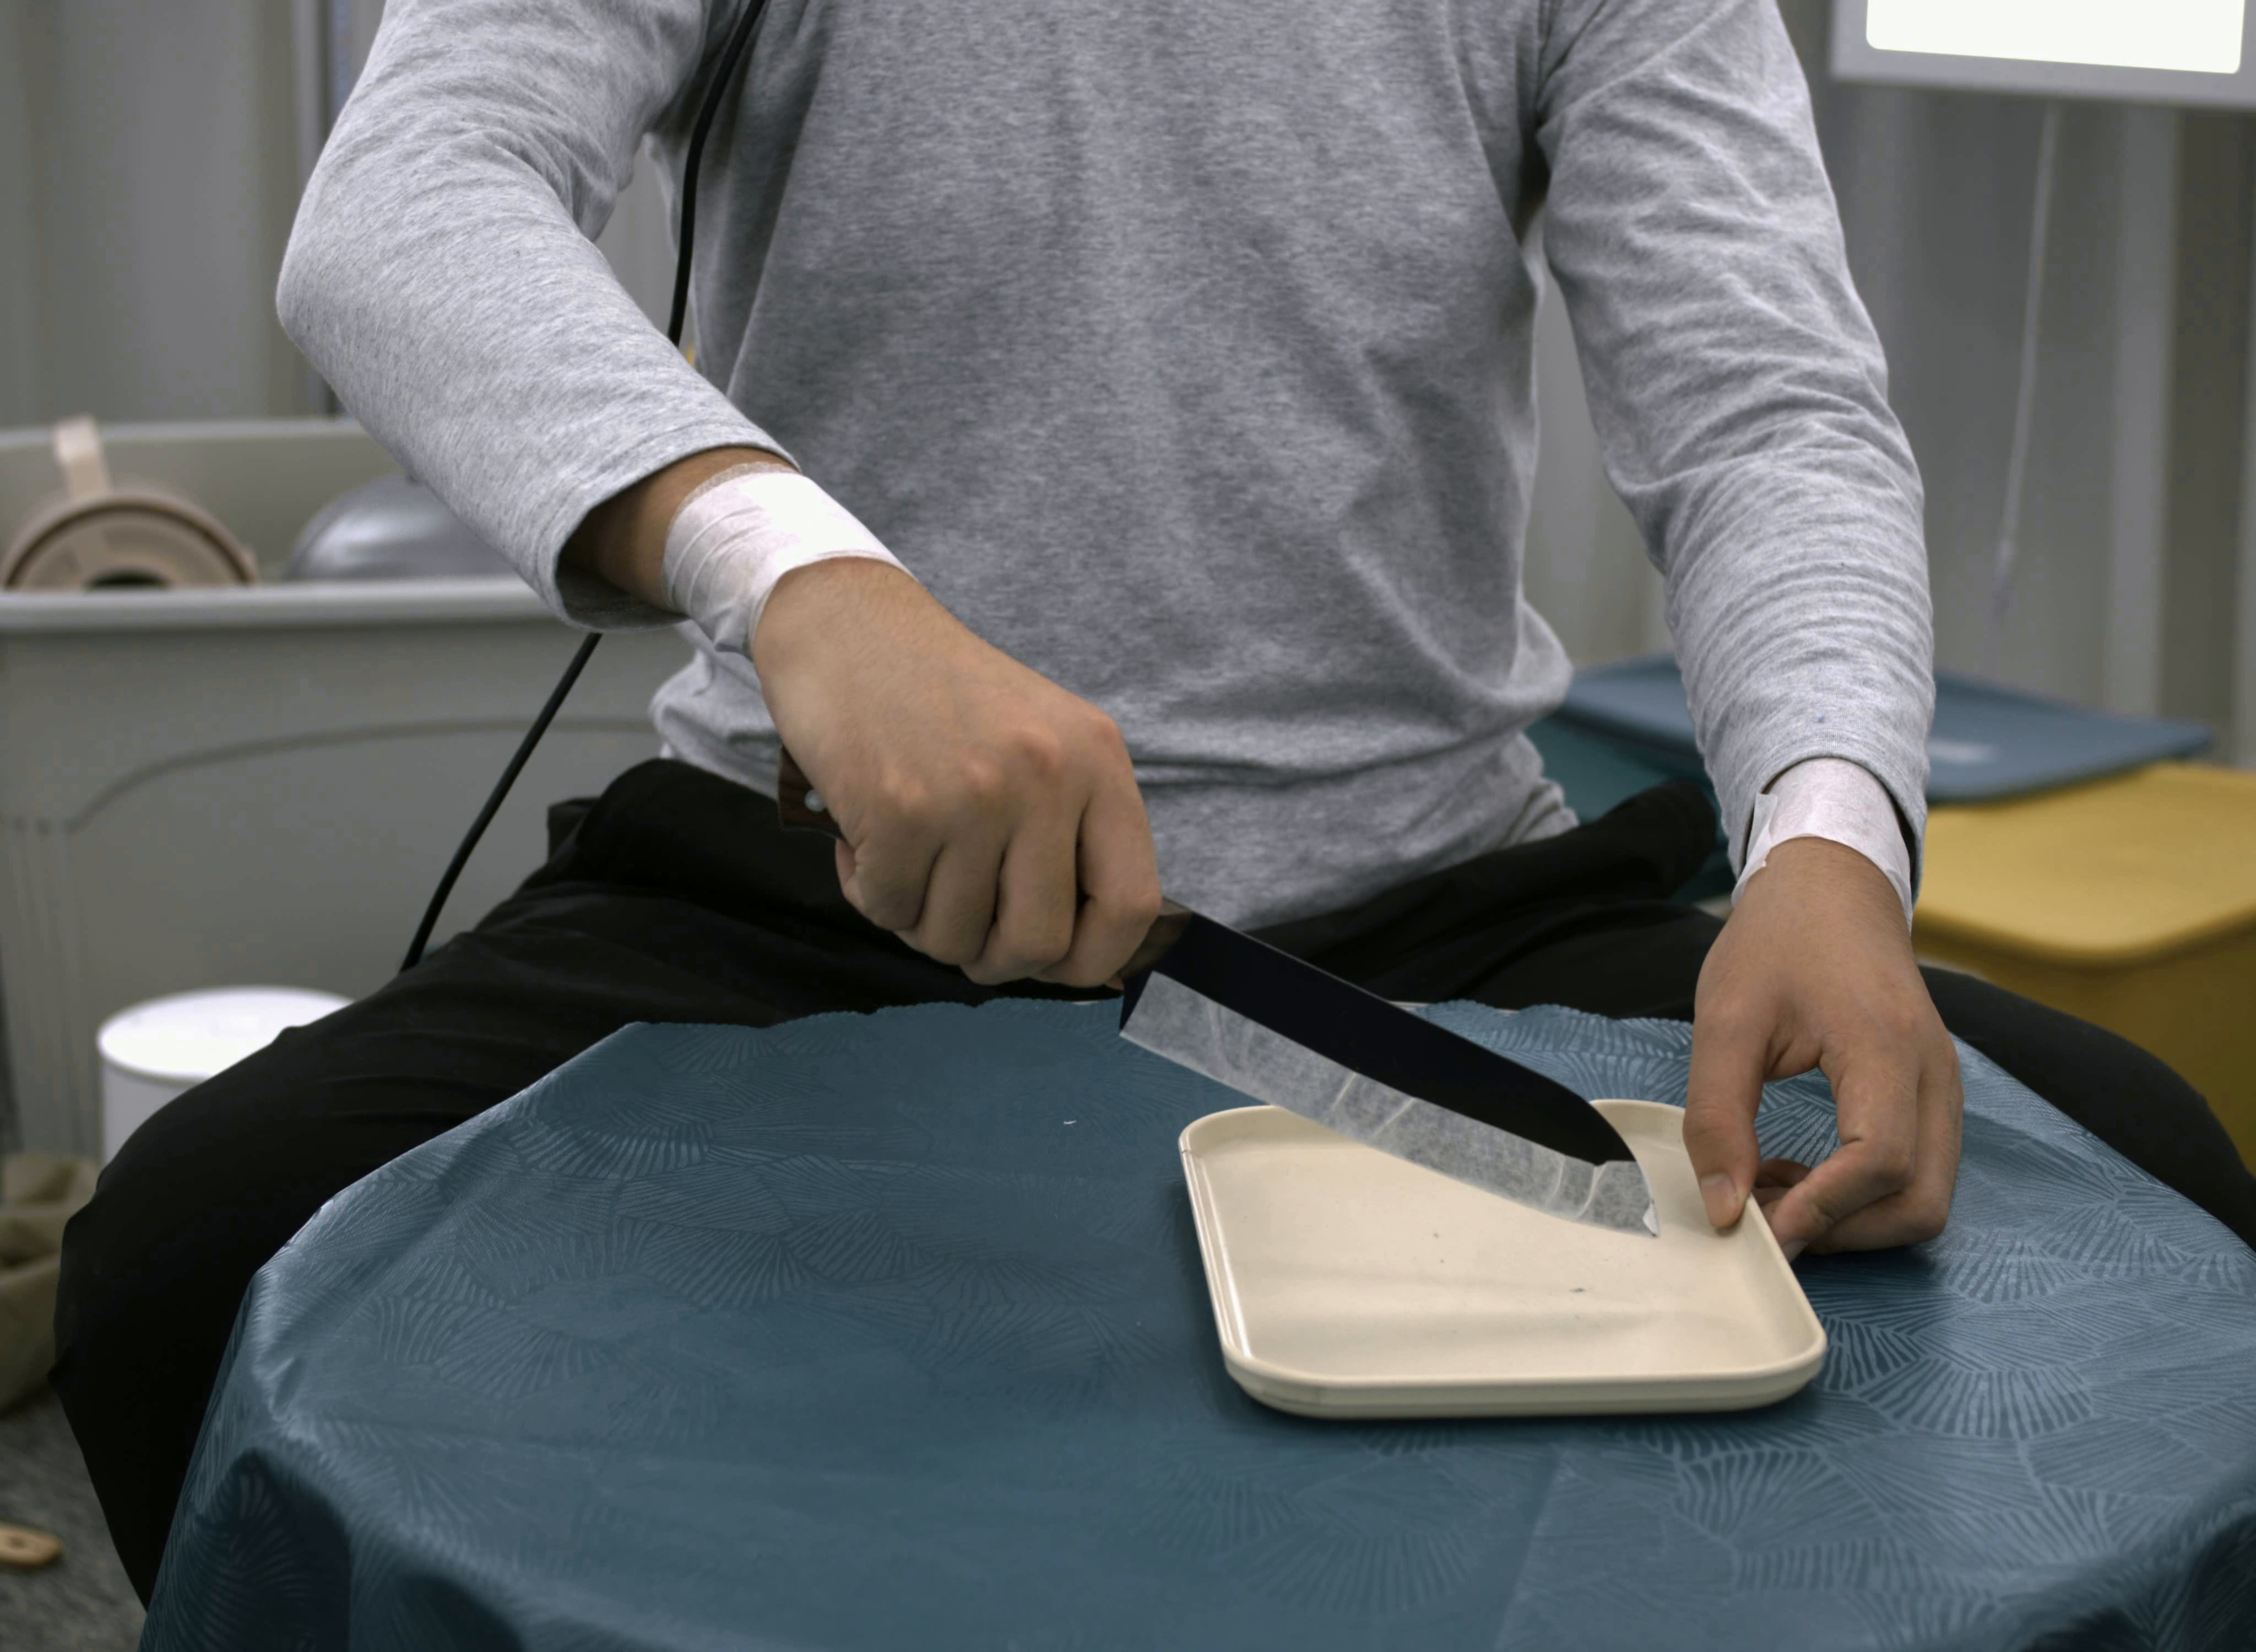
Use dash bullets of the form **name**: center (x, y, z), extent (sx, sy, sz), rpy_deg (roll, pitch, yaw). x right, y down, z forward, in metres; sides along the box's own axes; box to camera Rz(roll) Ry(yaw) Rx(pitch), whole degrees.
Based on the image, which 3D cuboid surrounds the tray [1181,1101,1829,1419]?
- **tray**: center (0.105, 0.126, 1.547), extent (0.171, 0.017, 0.238), rpy_deg (0, 15, -3)

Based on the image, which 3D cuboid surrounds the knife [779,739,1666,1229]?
- **knife**: center (0.027, 0.047, 1.511), extent (0.289, 0.050, 0.020), rpy_deg (27, 21, -3)
